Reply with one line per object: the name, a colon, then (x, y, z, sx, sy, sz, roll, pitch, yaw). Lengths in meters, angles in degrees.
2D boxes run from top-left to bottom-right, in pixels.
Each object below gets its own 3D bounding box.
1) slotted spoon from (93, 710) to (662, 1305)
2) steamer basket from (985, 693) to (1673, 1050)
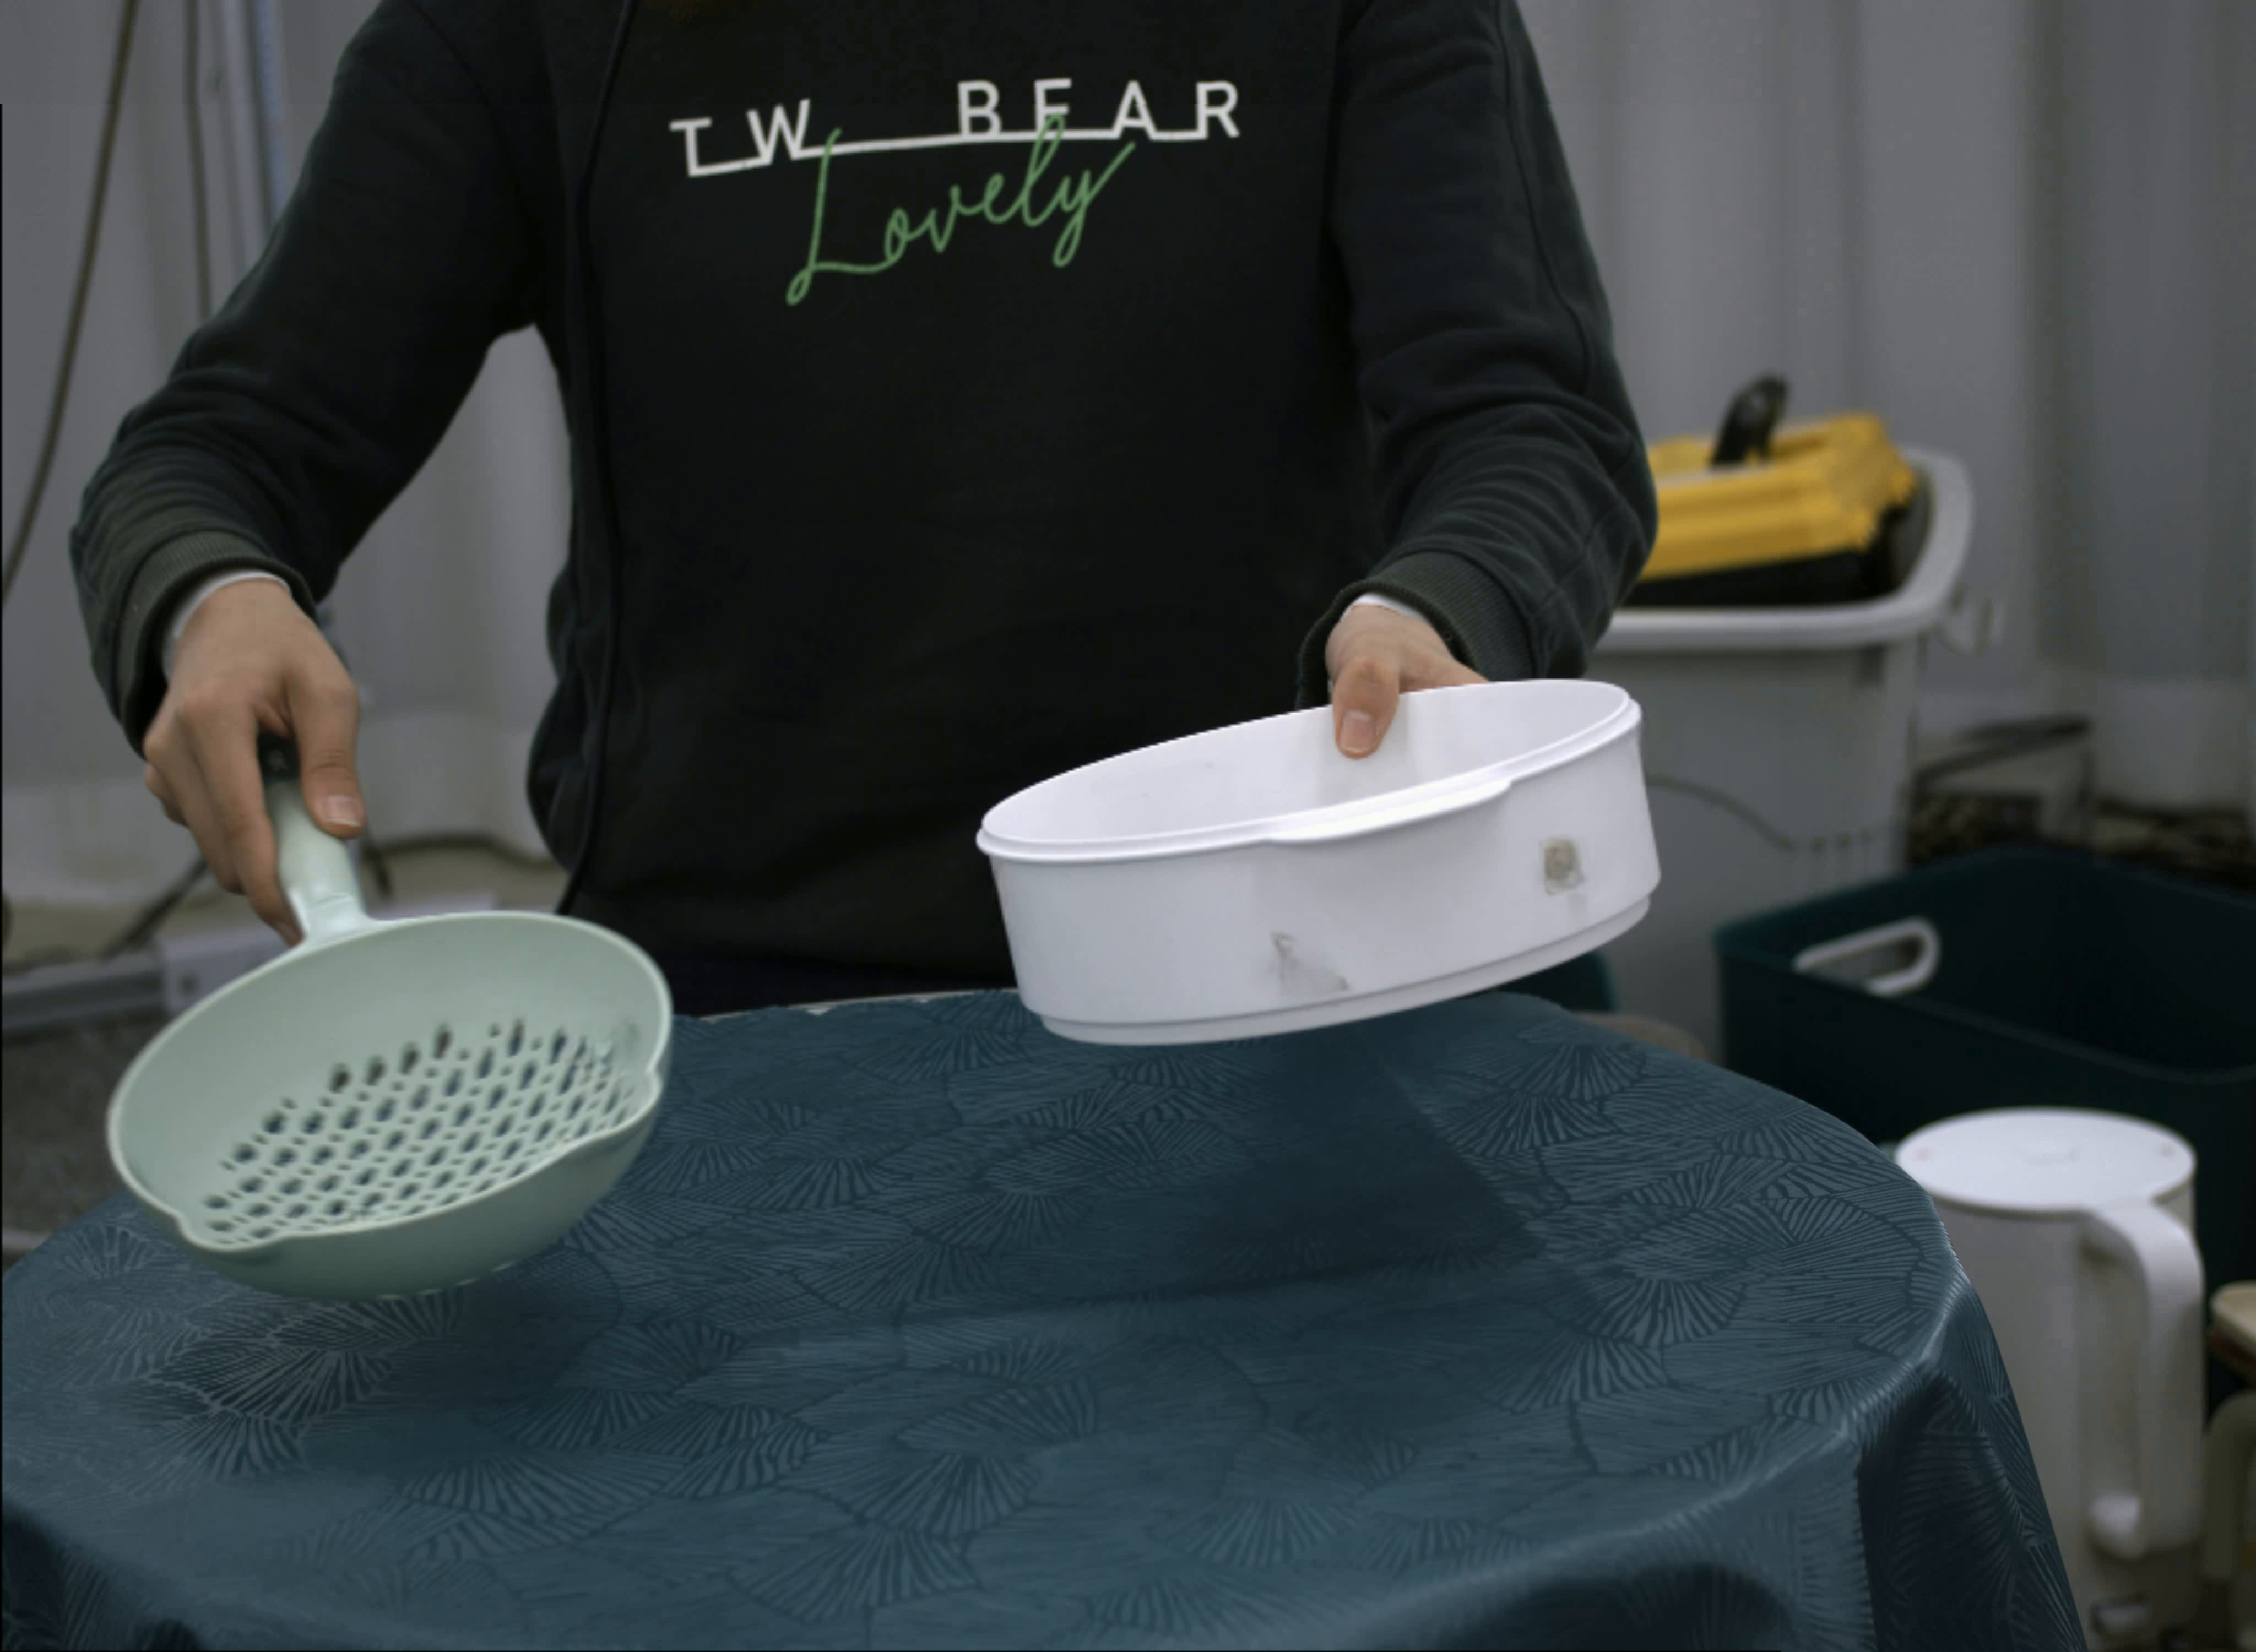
slotted spoon: (-0.245, 0.038, 1.692, 0.169, 0.074, 0.364, -14, 37, -11)
steamer basket: (0.062, 0.014, 1.614, 0.201, 0.069, 0.231, -12, 9, -12)
